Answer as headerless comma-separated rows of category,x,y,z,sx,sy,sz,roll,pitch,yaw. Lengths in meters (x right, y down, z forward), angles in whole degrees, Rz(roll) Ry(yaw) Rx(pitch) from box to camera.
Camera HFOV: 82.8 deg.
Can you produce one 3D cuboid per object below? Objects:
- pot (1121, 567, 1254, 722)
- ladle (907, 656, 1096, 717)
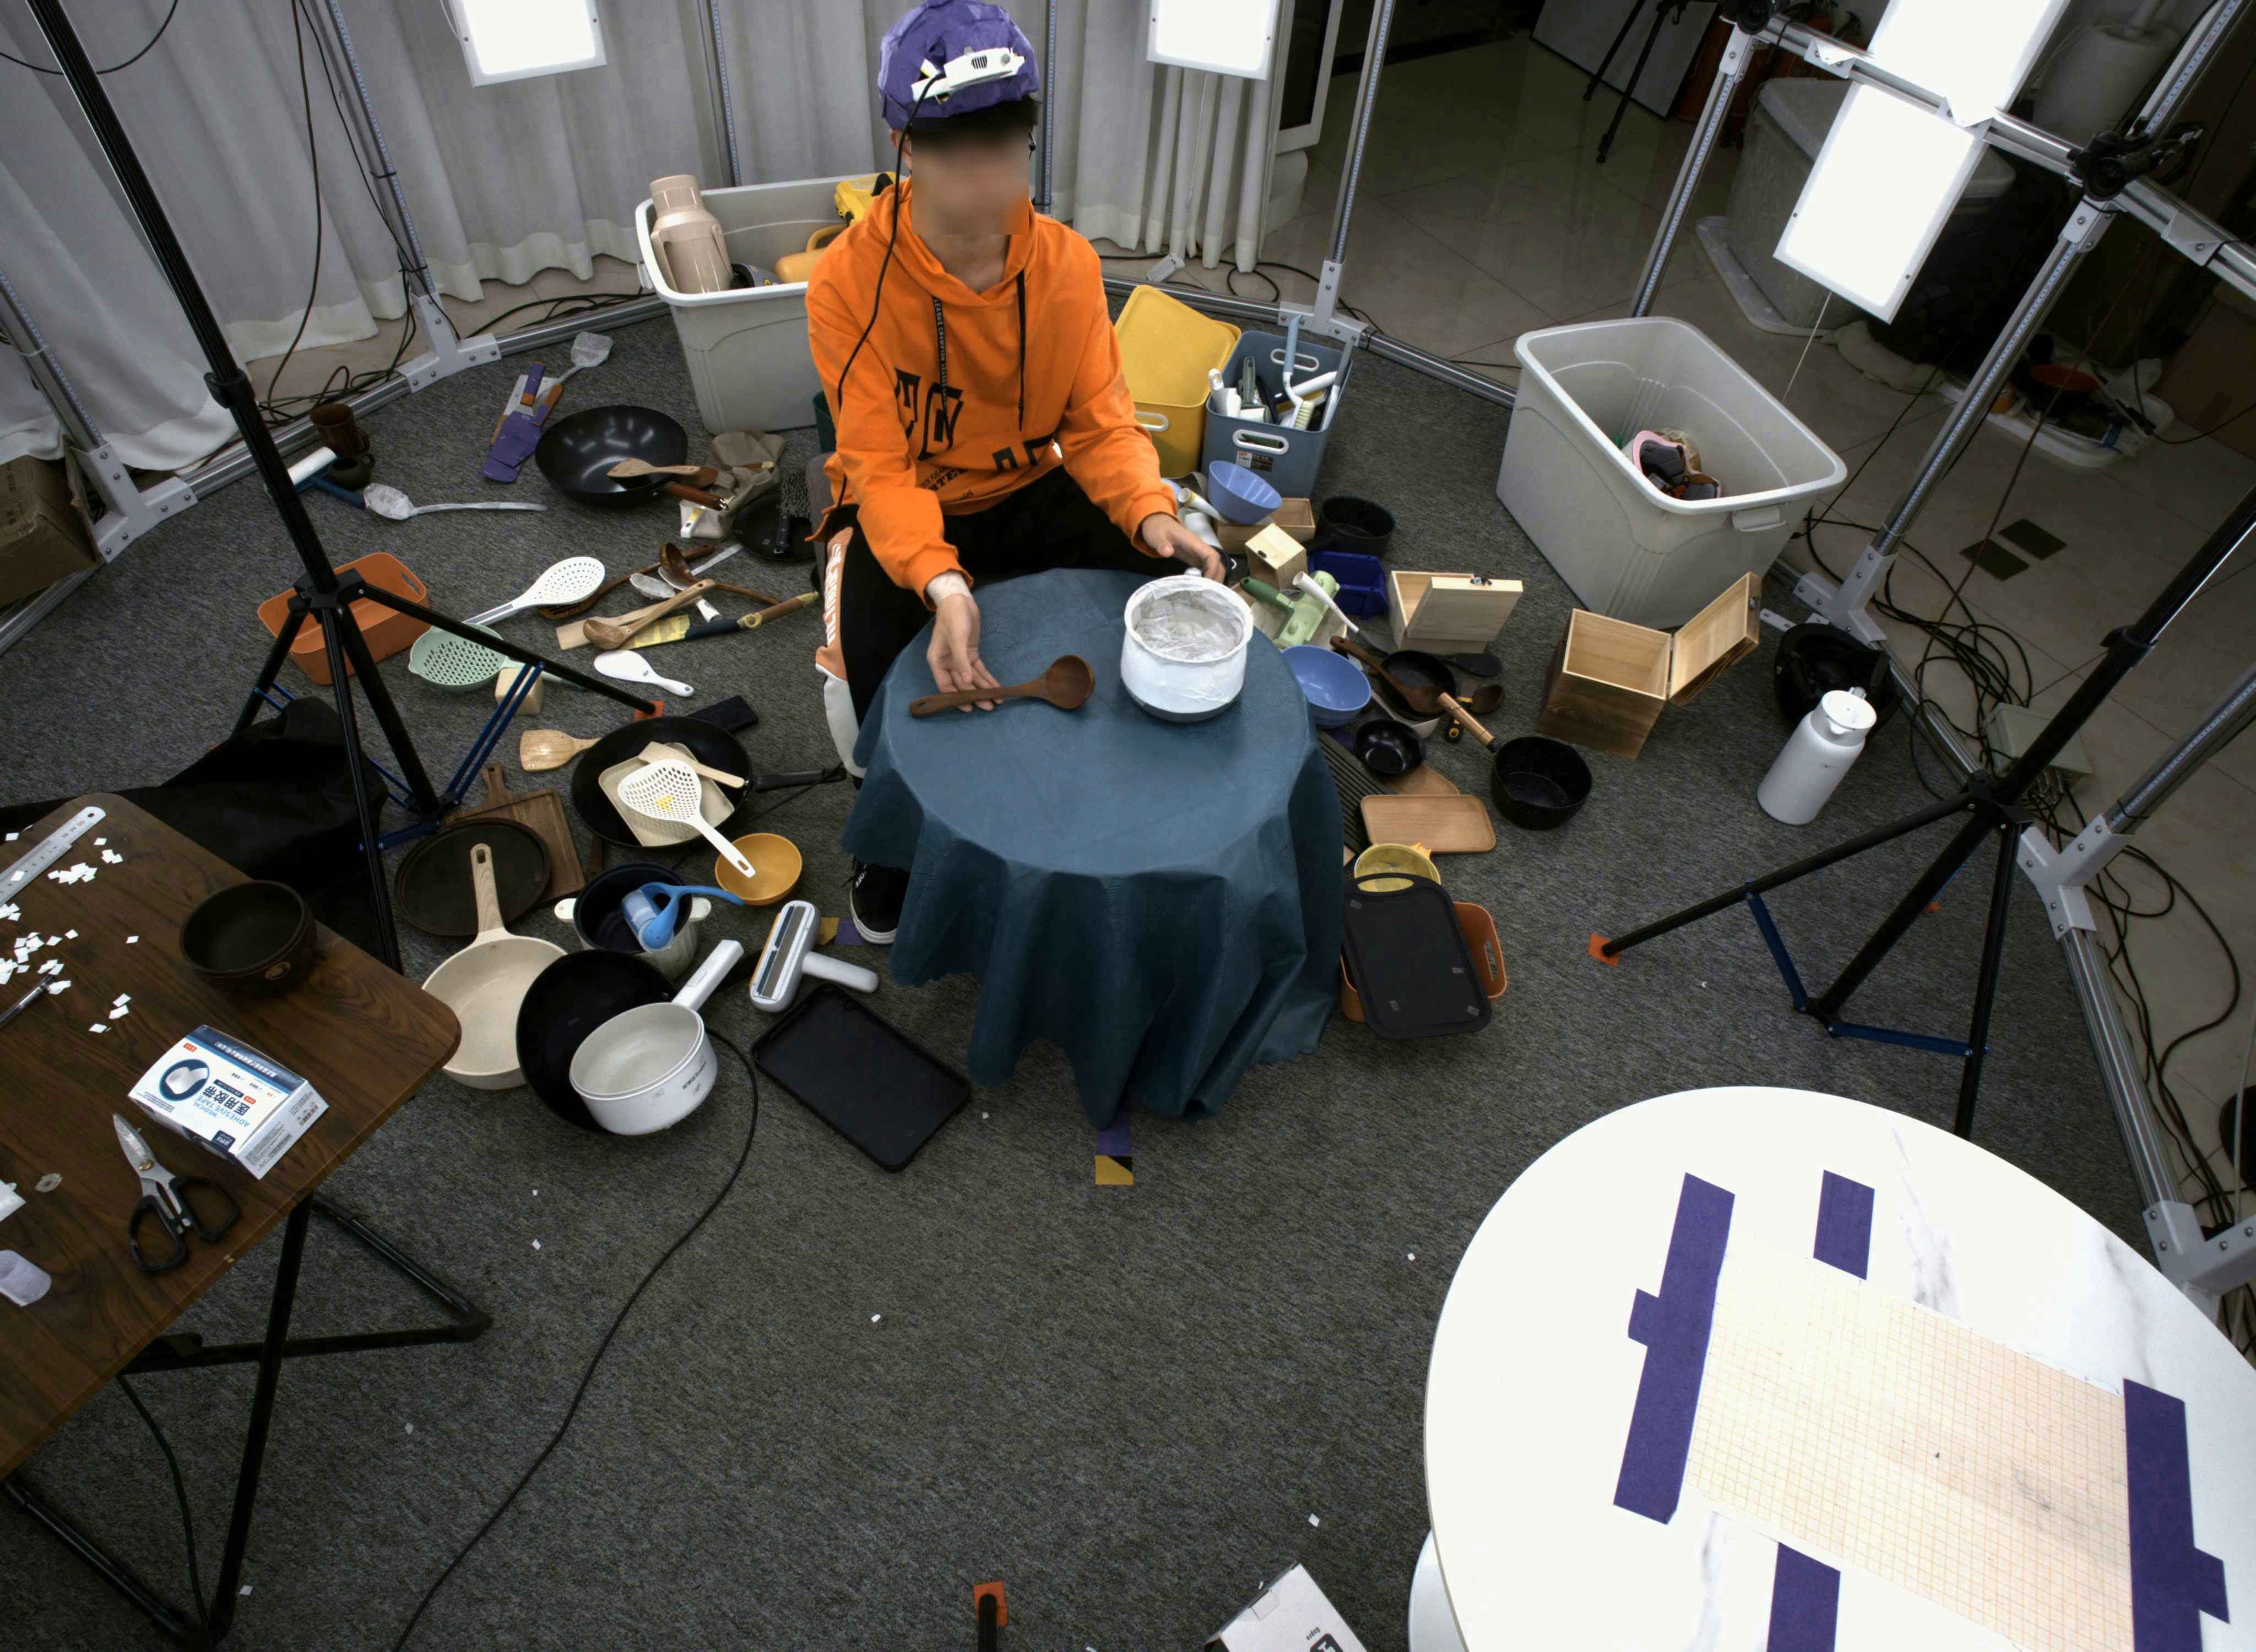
pot,0.081,-0.265,1.816,0.178,0.133,0.239,6,49,0
ladle,-0.174,-0.186,1.780,0.260,0.064,0.077,-9,76,-12
